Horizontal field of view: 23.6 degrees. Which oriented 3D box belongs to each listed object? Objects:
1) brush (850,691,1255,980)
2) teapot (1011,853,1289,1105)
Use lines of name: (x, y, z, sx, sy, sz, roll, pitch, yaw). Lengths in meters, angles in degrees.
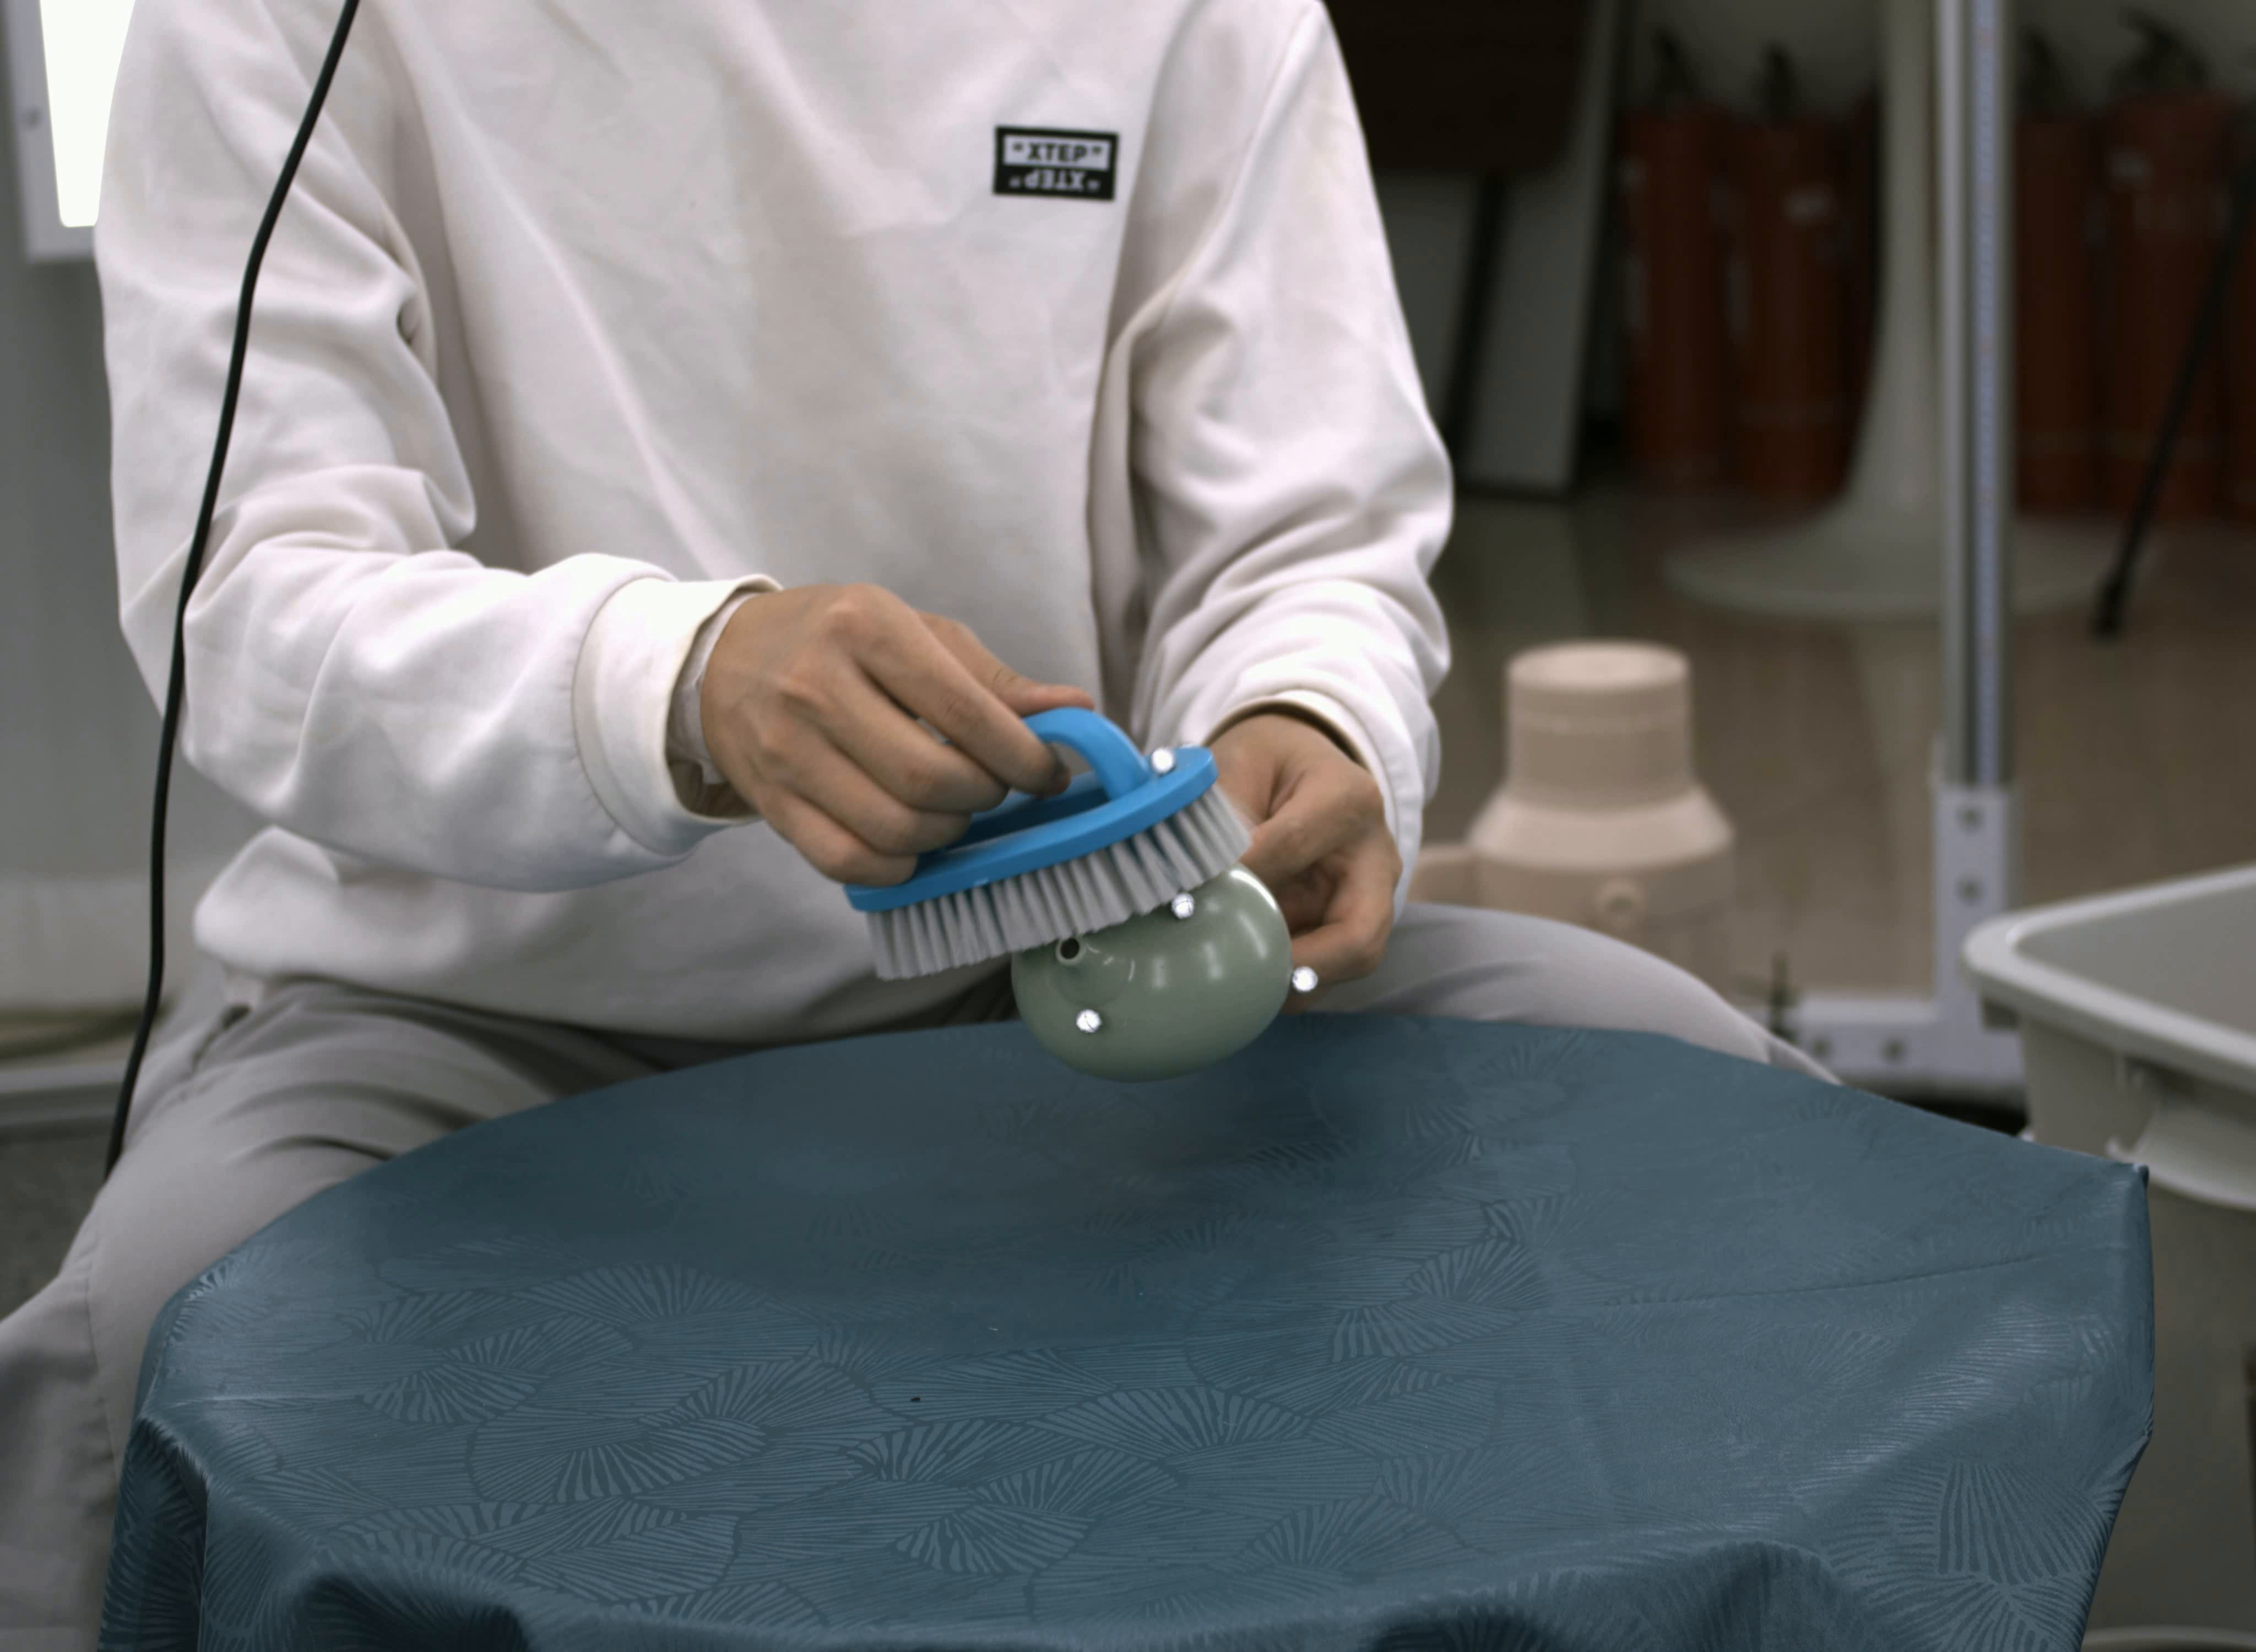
brush: (-0.033, -0.004, 1.712, 0.143, 0.064, 0.083, -18, 17, 36)
teapot: (0.012, 0.049, 1.744, 0.092, 0.061, 0.126, -14, 10, 34)
